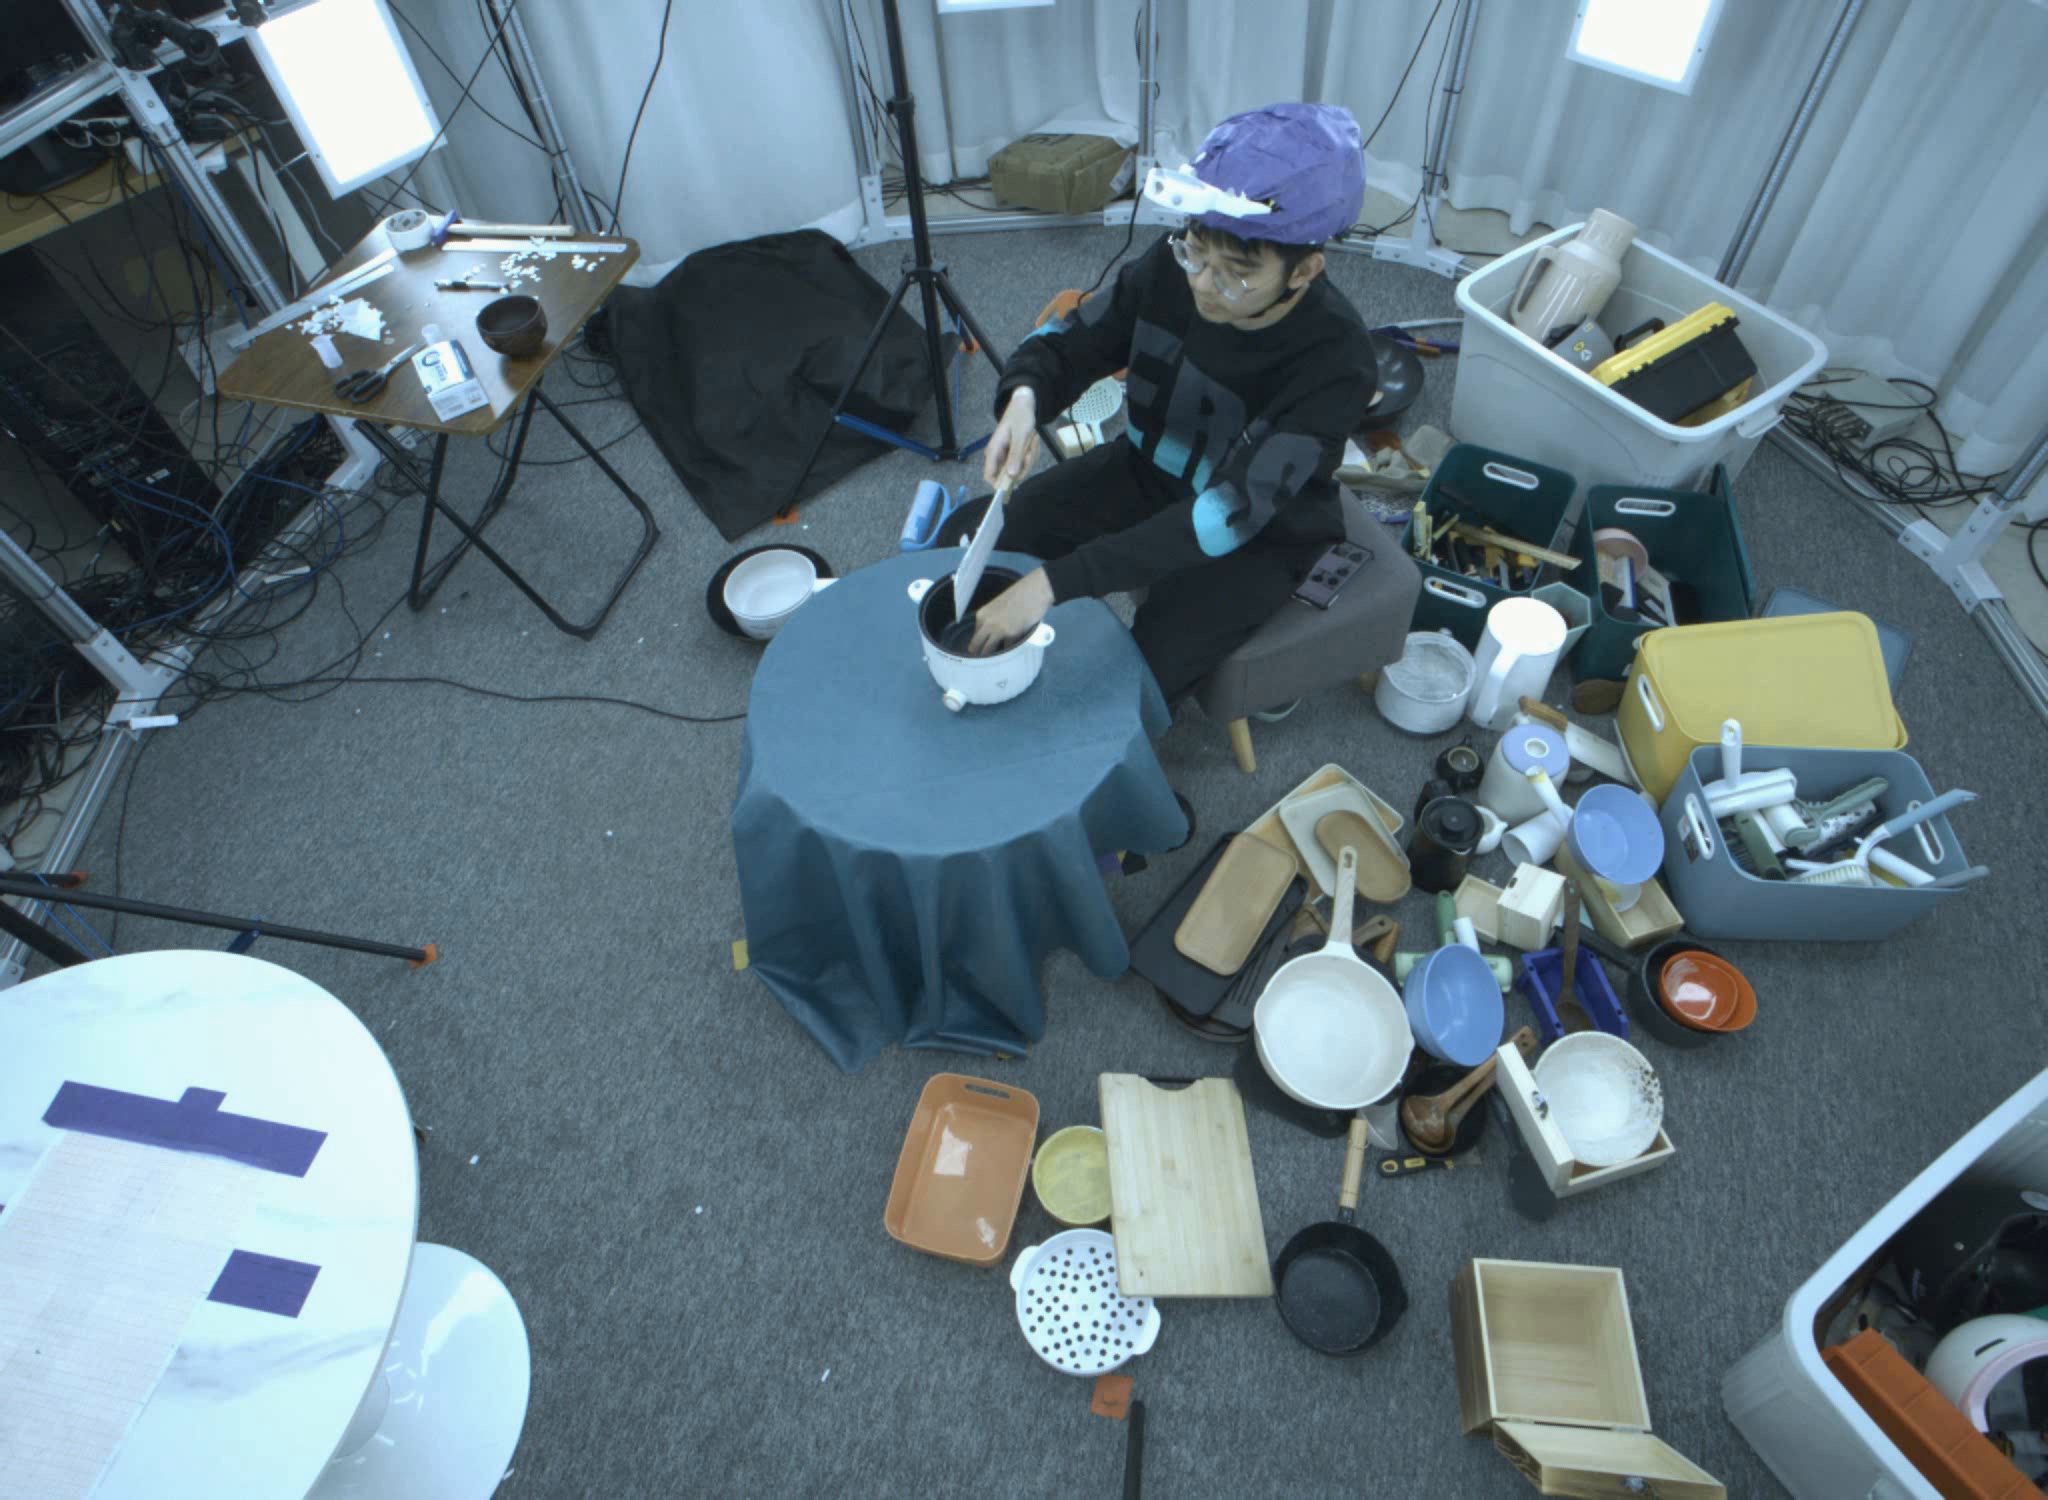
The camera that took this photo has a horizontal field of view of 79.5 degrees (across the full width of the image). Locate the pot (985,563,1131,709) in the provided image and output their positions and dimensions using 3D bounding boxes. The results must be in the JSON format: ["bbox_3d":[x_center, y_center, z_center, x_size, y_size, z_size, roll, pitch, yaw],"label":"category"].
[{"bbox_3d":[0.047,-0.160,1.812,0.237,0.144,0.191,26,57,21],"label":"pot"}]

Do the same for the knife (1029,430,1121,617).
[{"bbox_3d":[0.070,-0.333,1.735,0.021,0.115,0.315,20,69,13],"label":"knife"}]
